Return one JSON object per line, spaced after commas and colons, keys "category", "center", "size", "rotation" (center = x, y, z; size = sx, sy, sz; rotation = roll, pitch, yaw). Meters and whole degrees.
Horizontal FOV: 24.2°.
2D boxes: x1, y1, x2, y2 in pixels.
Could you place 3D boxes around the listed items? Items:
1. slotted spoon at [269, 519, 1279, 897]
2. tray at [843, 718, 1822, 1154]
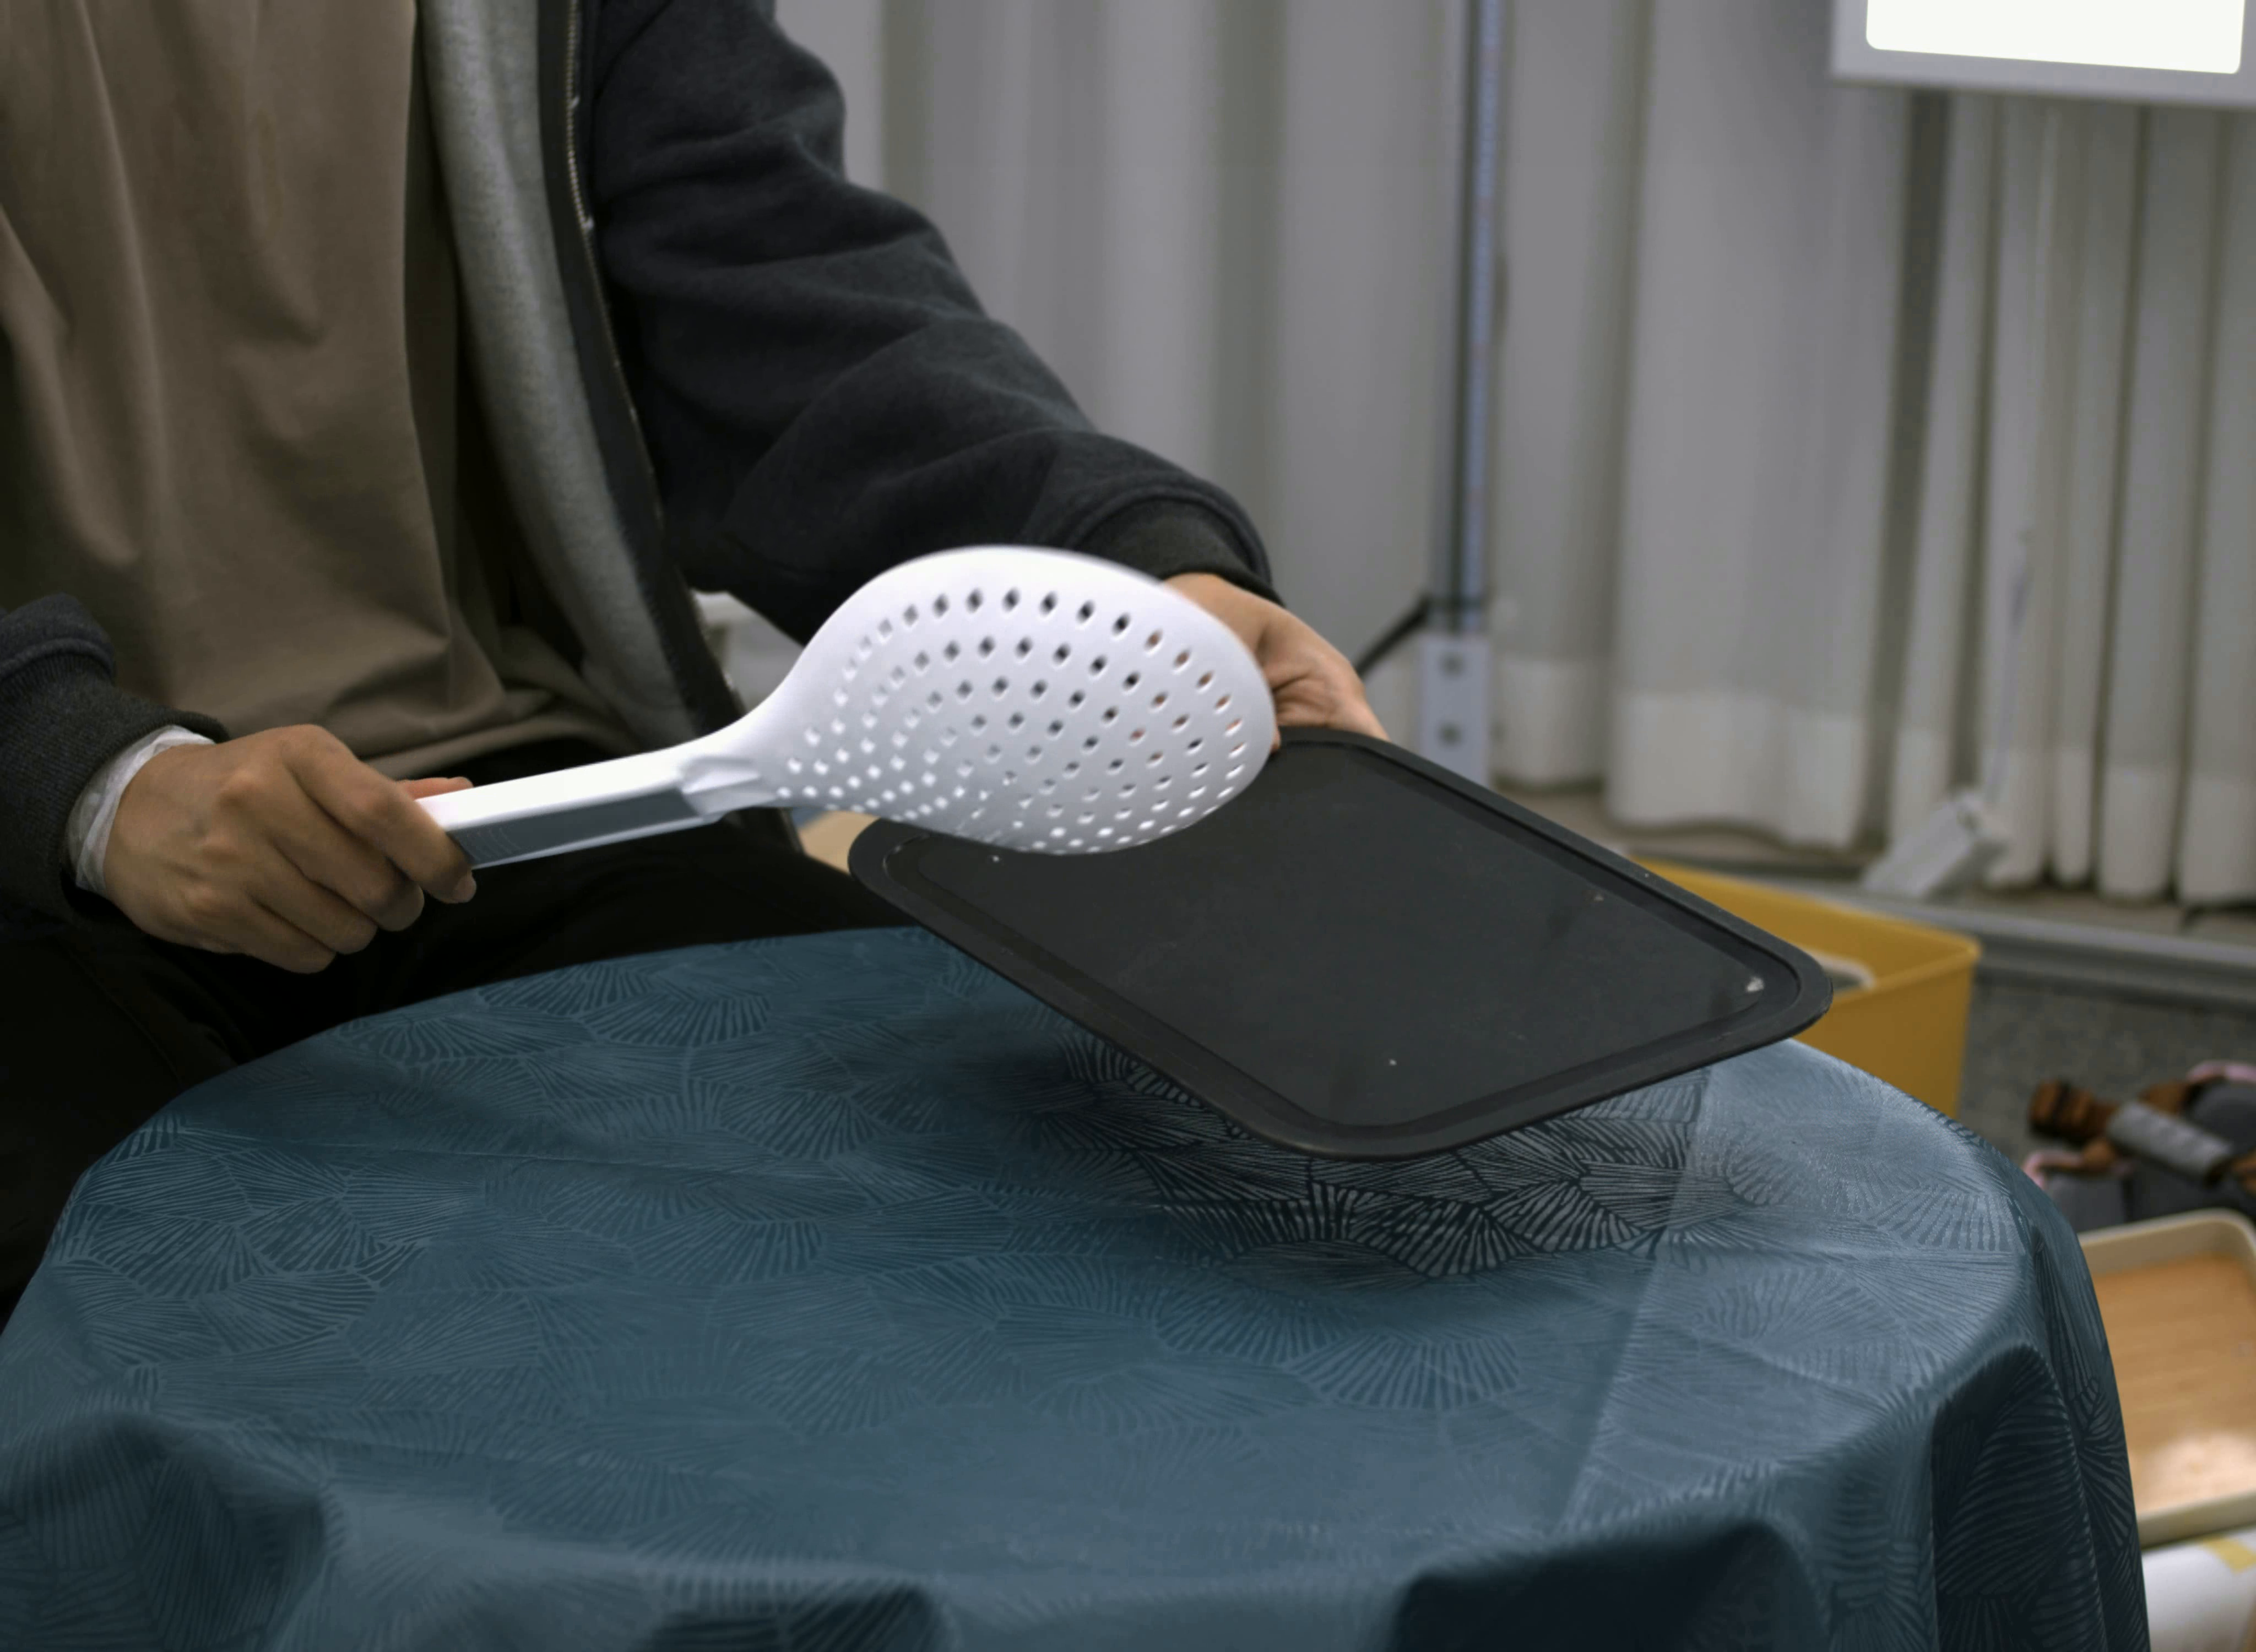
{"category": "slotted spoon", "center": [-0.117, -0.019, 1.604], "size": [0.346, 0.138, 0.045], "rotation": [-7, 47, 29]}
{"category": "tray", "center": [0.054, 0.026, 1.676], "size": [0.212, 0.010, 0.321], "rotation": [-16, 27, -30]}
